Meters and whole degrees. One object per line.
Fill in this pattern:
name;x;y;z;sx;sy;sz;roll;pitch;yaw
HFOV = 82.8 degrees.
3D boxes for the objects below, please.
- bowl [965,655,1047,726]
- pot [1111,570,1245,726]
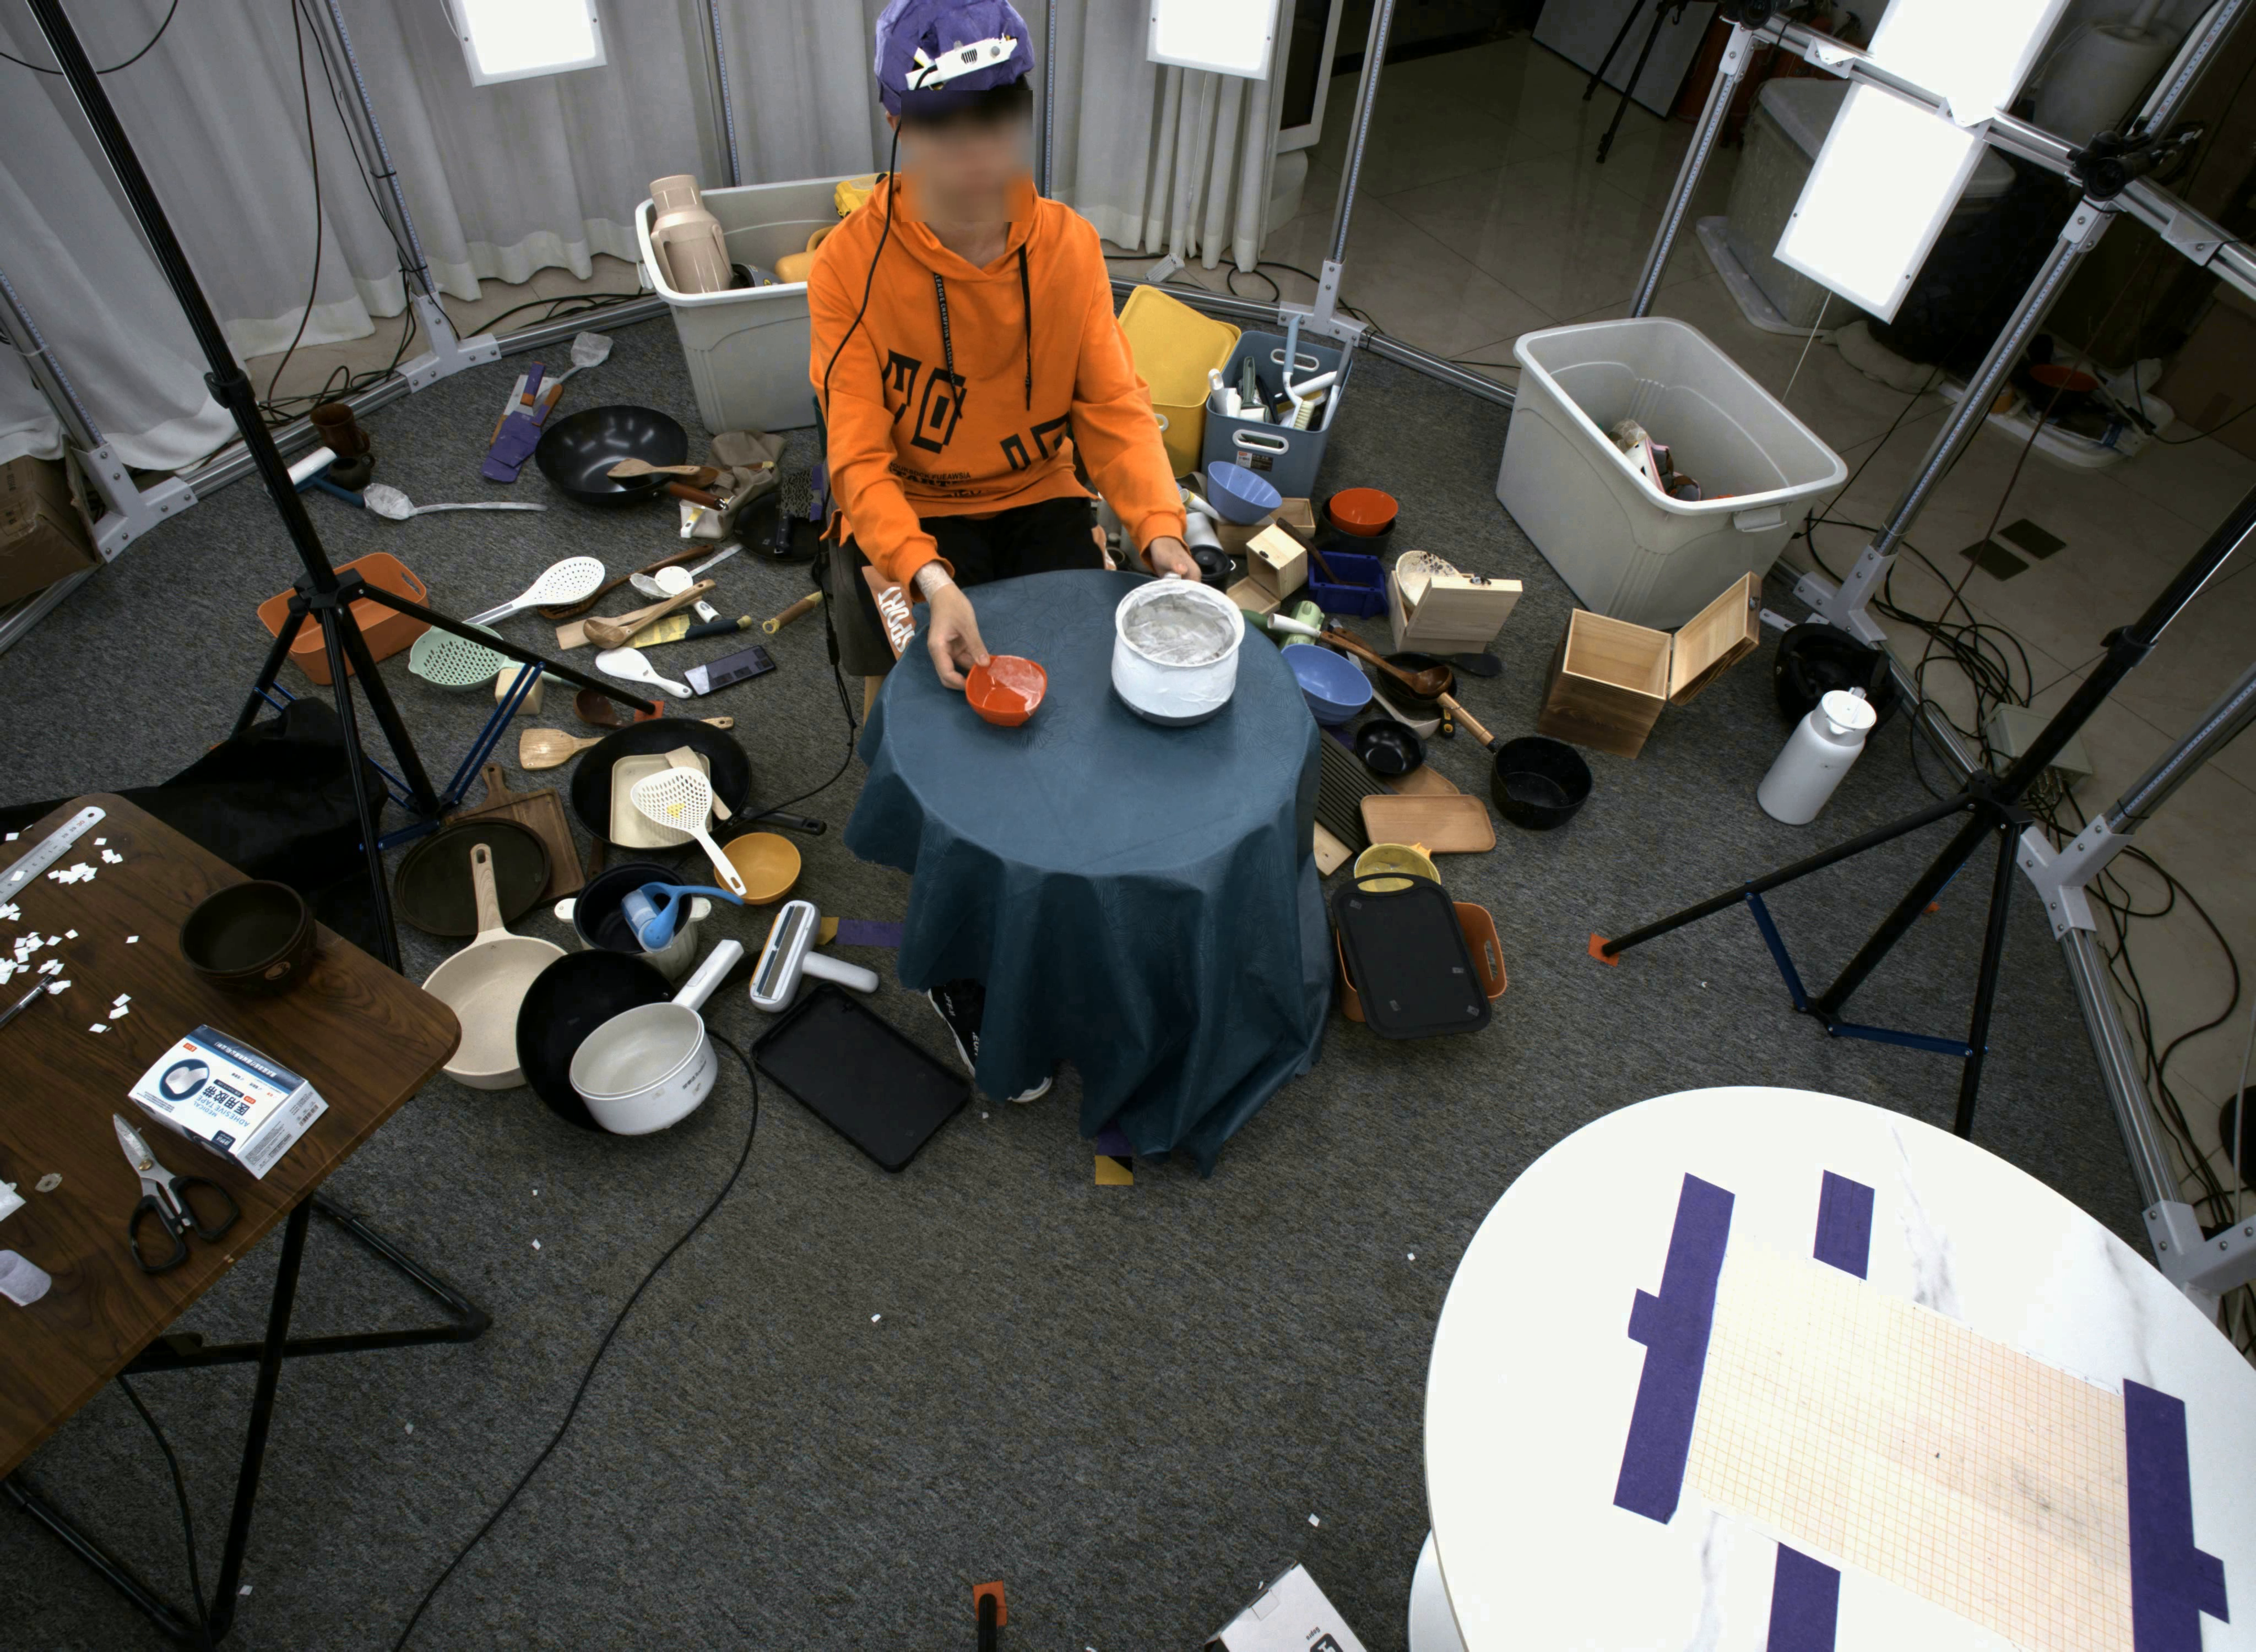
bowl;-0.168;-0.182;1.782;0.119;0.050;0.122;1;50;-2
pot;0.064;-0.260;1.810;0.178;0.133;0.239;-2;50;-6
